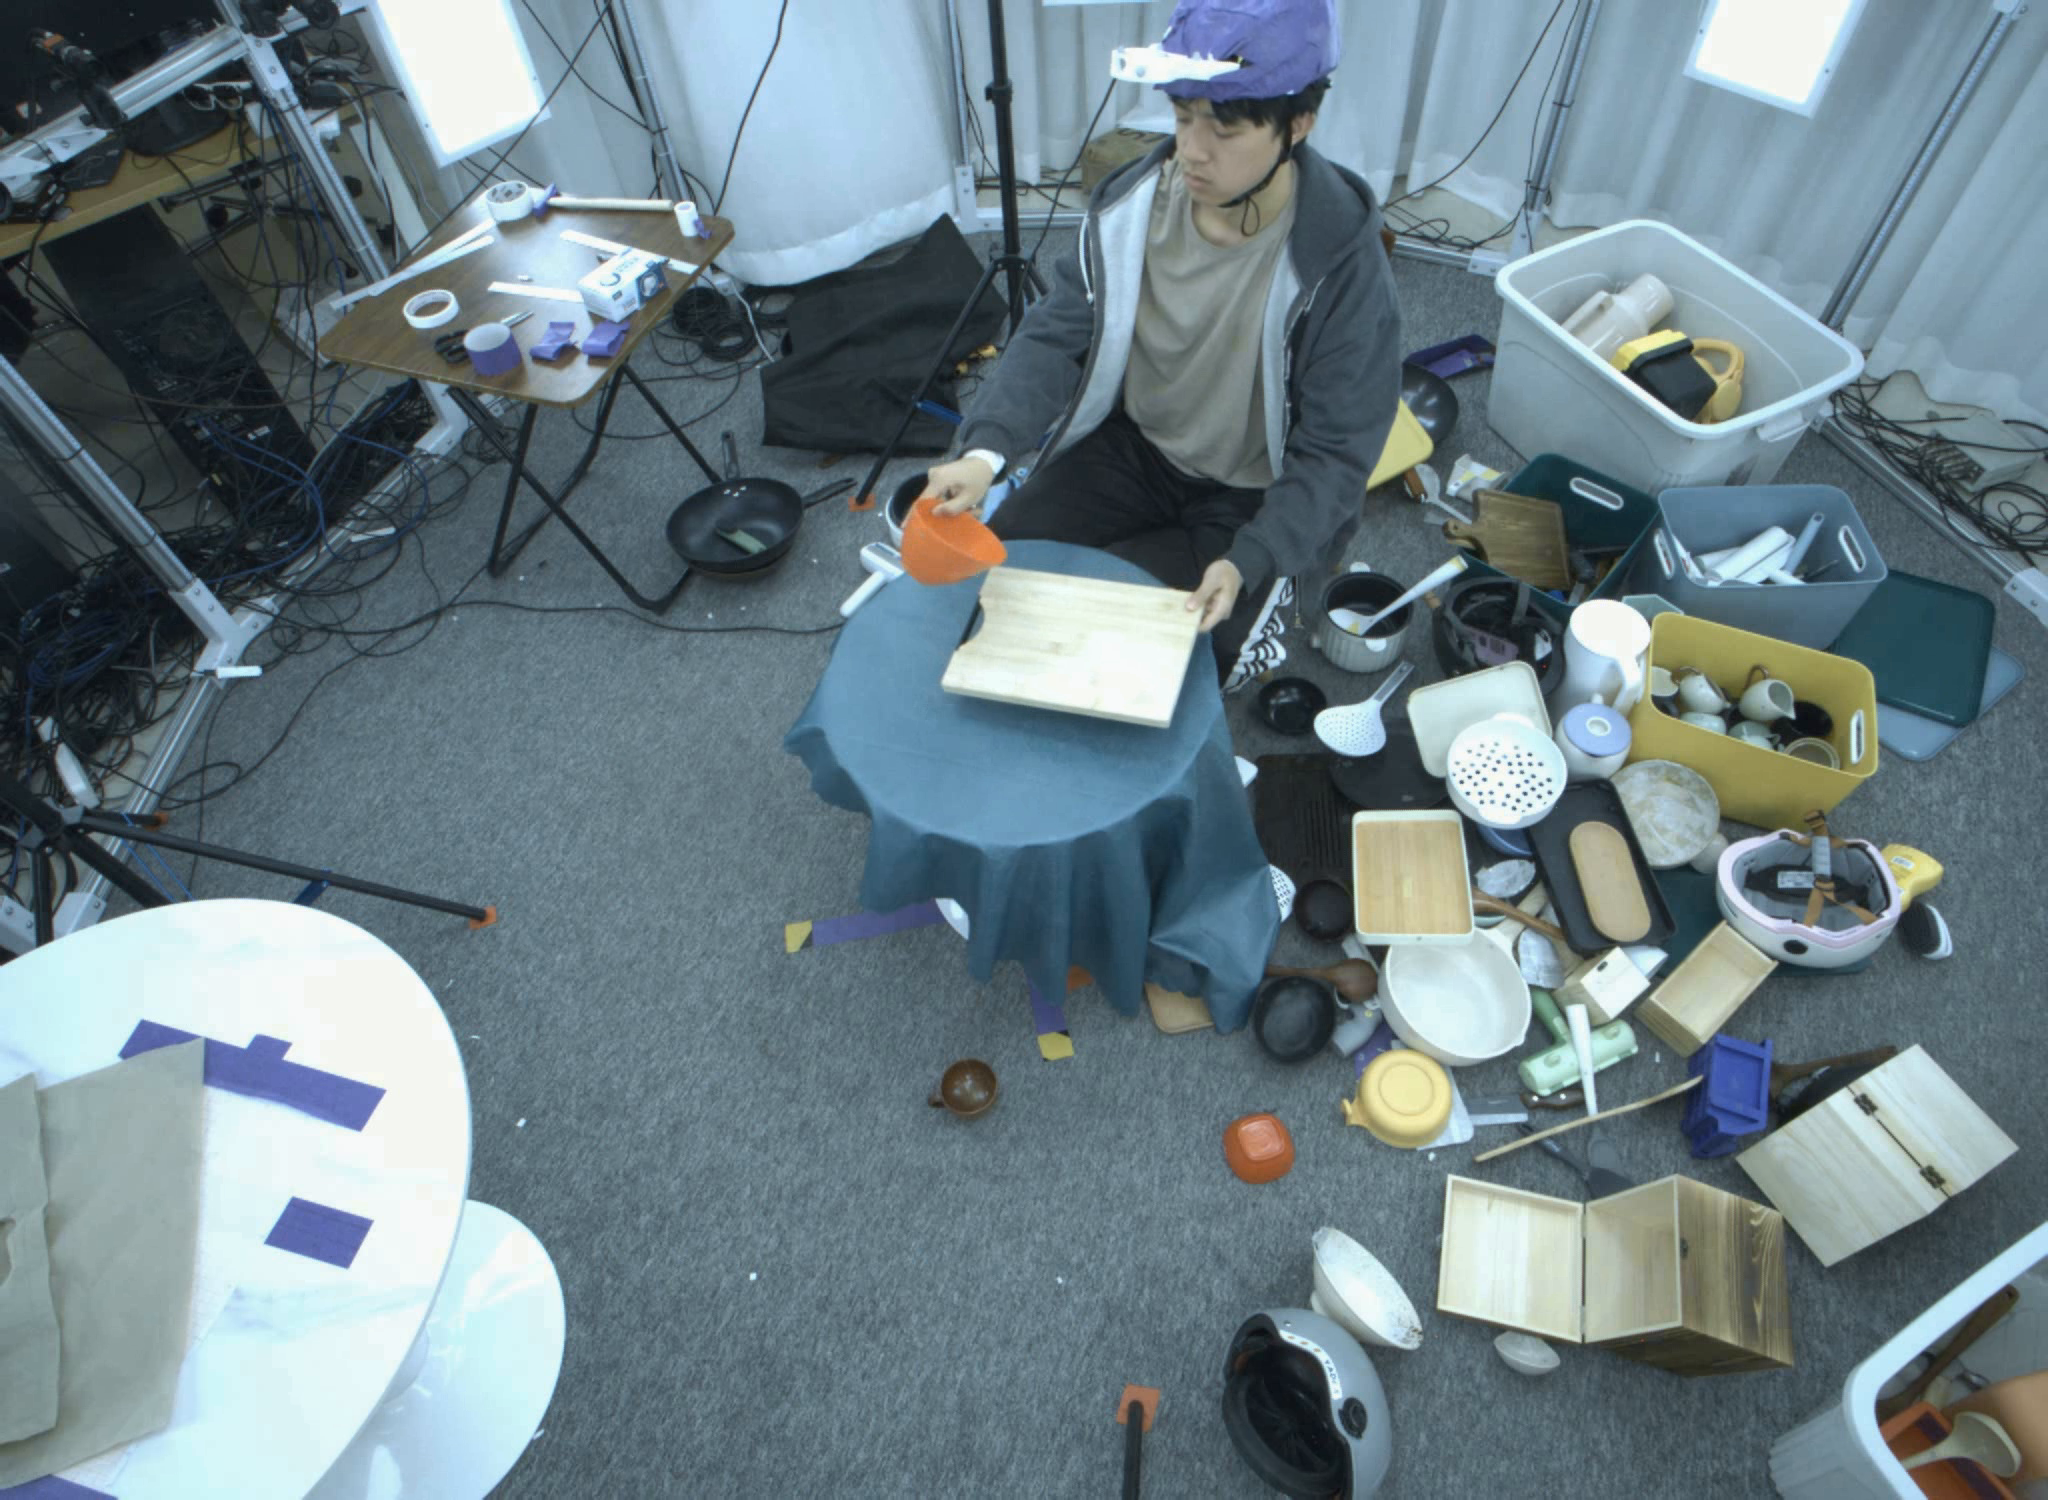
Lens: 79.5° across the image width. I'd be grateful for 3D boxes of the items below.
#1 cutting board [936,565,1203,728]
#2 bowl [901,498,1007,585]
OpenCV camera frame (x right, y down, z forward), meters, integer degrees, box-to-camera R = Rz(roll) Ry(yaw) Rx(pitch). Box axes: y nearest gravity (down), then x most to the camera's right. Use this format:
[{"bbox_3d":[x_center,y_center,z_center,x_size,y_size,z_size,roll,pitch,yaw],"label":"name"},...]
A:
[{"bbox_3d":[0.069,-0.161,1.816,0.345,0.024,0.250,10,57,14],"label":"cutting board"},{"bbox_3d":[-0.112,-0.279,1.710,0.151,0.104,0.146,32,34,-24],"label":"bowl"}]
